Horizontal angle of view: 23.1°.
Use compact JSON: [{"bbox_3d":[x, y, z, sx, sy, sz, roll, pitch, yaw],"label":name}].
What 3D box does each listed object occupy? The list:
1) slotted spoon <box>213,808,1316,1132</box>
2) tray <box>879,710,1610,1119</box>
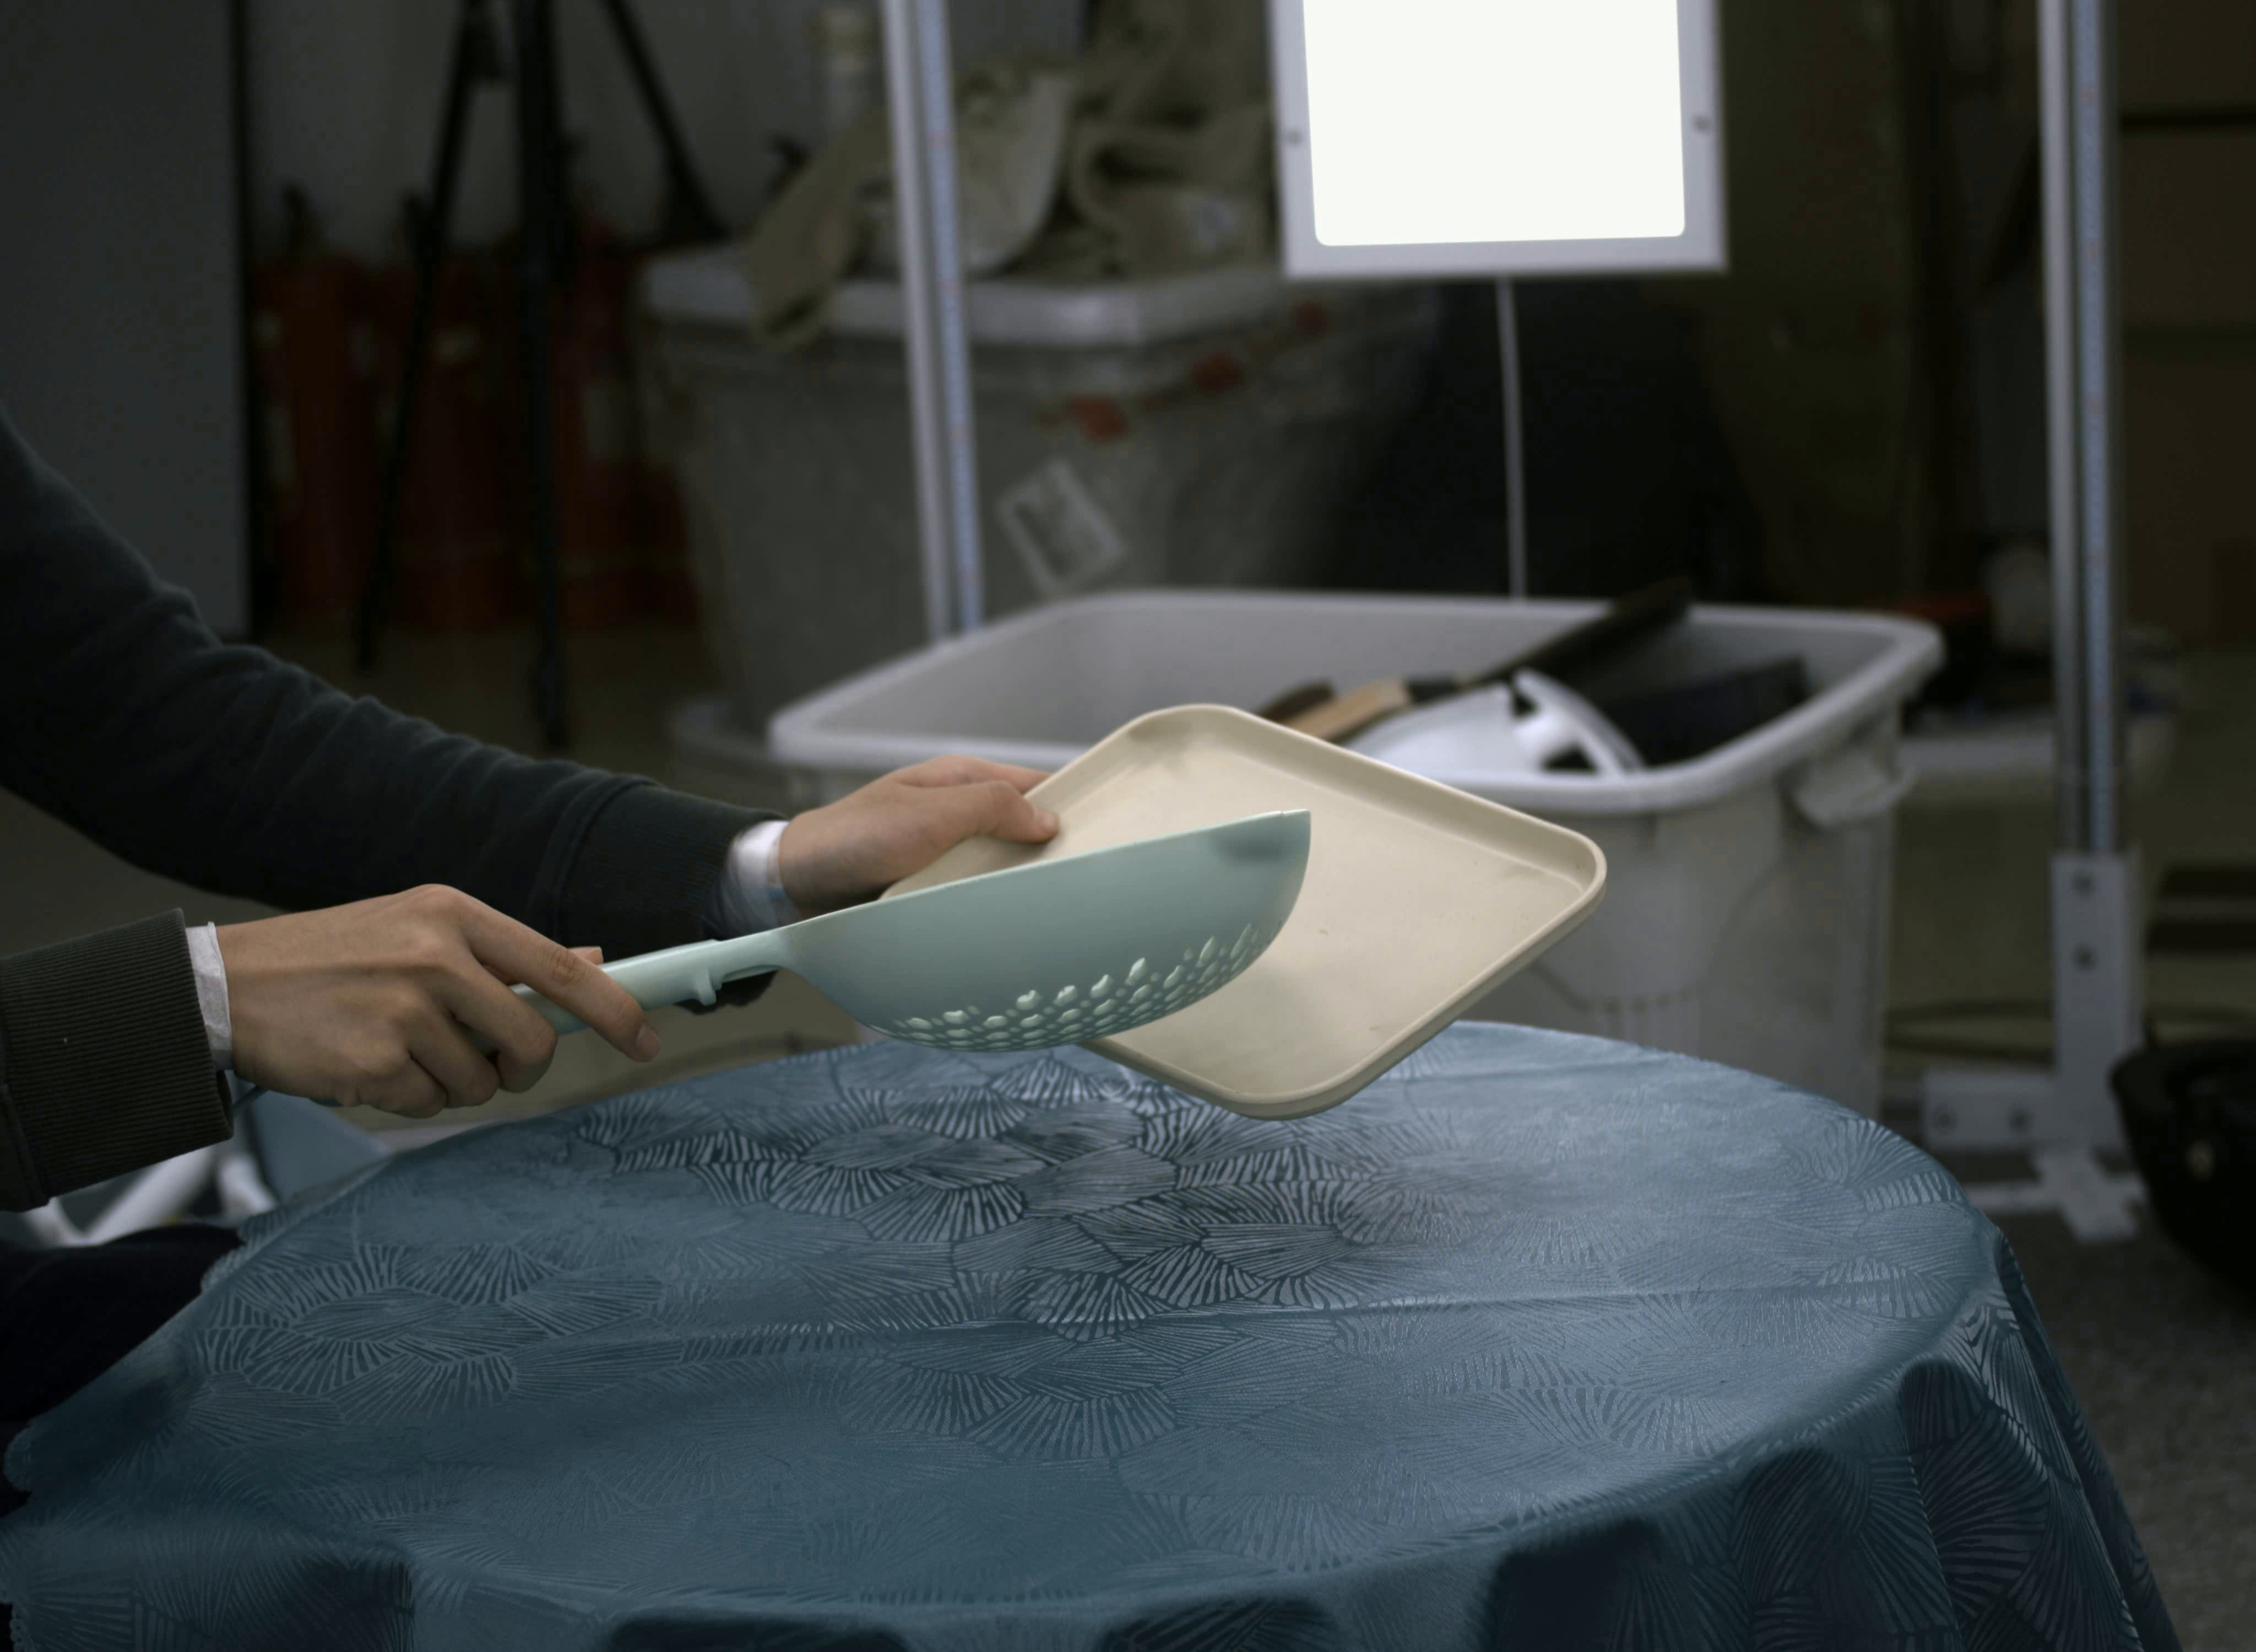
[{"bbox_3d":[-0.115,0.046,1.757,0.358,0.075,0.169,-4,-4,1],"label":"slotted spoon"},{"bbox_3d":[0.038,0.029,1.882,0.168,0.017,0.244,-36,34,-27],"label":"tray"}]
